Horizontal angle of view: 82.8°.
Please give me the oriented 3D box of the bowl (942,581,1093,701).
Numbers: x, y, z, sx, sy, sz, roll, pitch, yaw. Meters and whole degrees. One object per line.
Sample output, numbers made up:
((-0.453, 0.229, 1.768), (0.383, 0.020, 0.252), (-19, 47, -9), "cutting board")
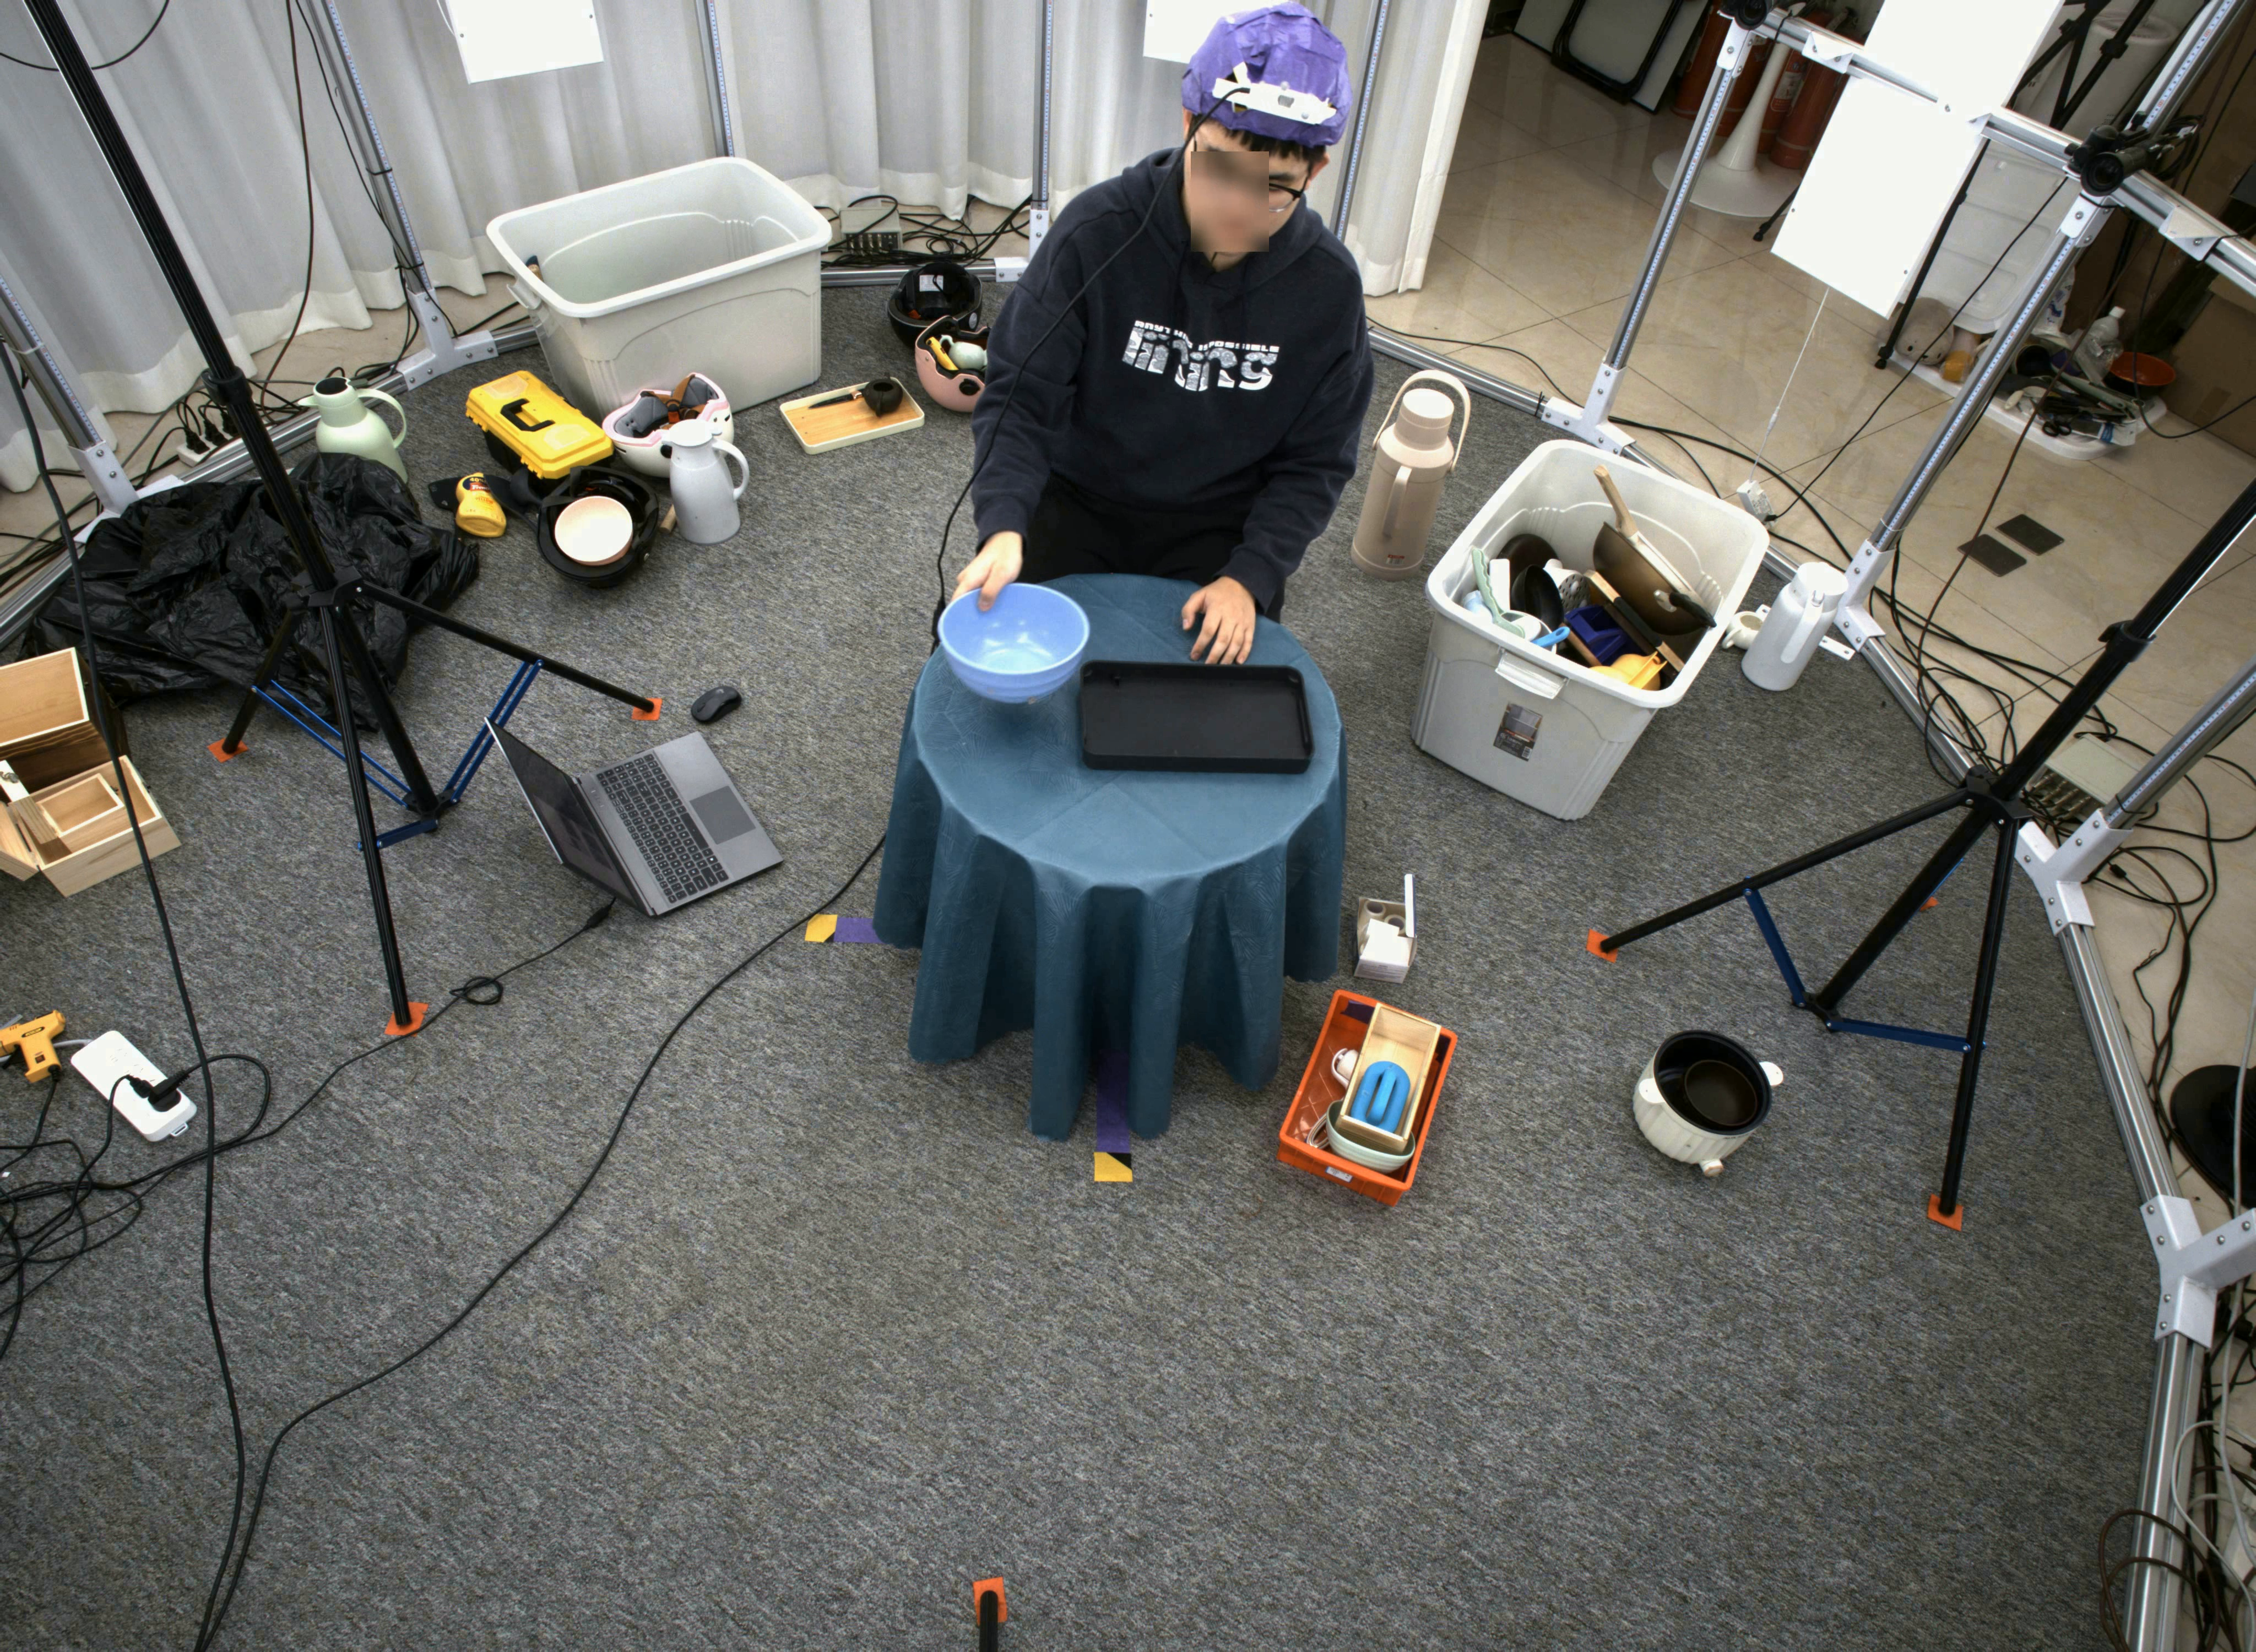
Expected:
((-0.145, -0.232, 1.707), (0.196, 0.093, 0.201), (1, 44, -1), "bowl")

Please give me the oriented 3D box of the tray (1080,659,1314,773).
((0.091, -0.154, 1.781), (0.317, 0.036, 0.189), (1, 49, -4), "tray")
